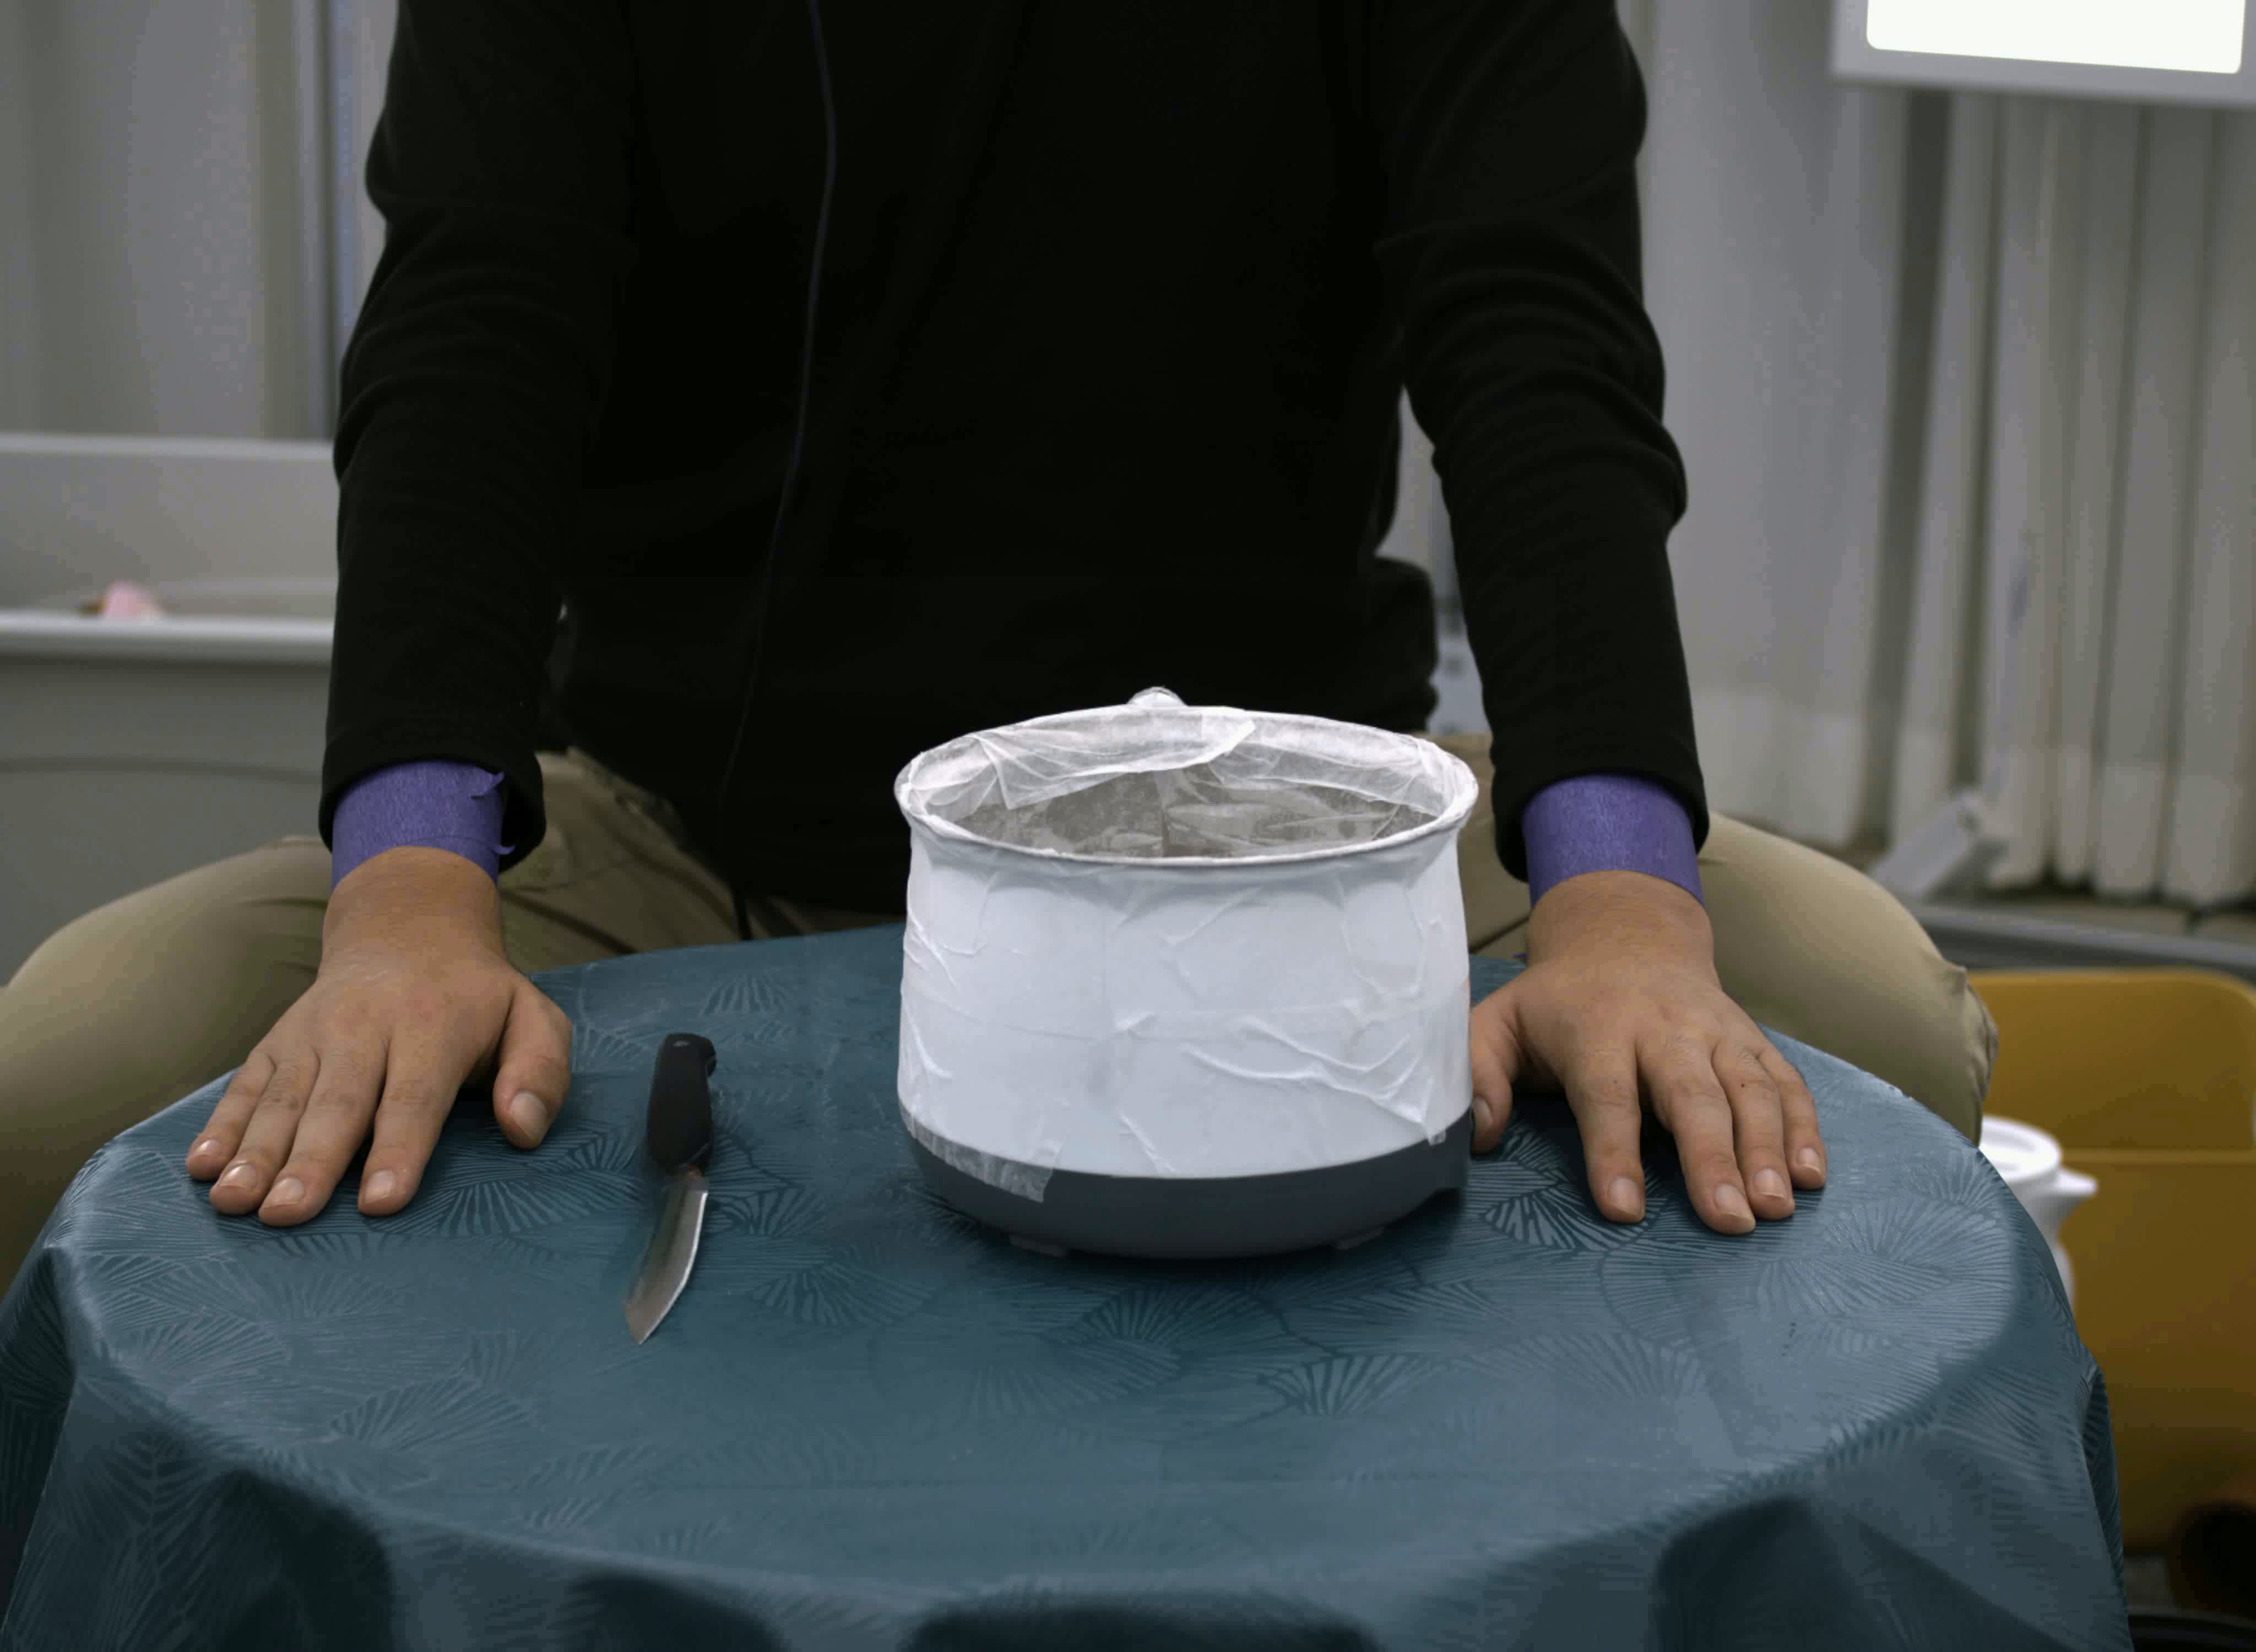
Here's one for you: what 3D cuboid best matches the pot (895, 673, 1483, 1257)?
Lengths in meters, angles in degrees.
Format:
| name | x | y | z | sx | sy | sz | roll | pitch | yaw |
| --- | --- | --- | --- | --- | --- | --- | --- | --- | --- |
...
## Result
| name | x | y | z | sx | sy | sz | roll | pitch | yaw |
| --- | --- | --- | --- | --- | --- | --- | --- | --- | --- |
| pot | 0.014 | 0.037 | 1.626 | 0.178 | 0.138 | 0.232 | -1 | 17 | -7 |

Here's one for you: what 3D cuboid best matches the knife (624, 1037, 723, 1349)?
| name | x | y | z | sx | sy | sz | roll | pitch | yaw |
| --- | --- | --- | --- | --- | --- | --- | --- | --- | --- |
| knife | -0.140 | 0.111 | 1.603 | 0.024 | 0.016 | 0.236 | 0 | 18 | -1 |
